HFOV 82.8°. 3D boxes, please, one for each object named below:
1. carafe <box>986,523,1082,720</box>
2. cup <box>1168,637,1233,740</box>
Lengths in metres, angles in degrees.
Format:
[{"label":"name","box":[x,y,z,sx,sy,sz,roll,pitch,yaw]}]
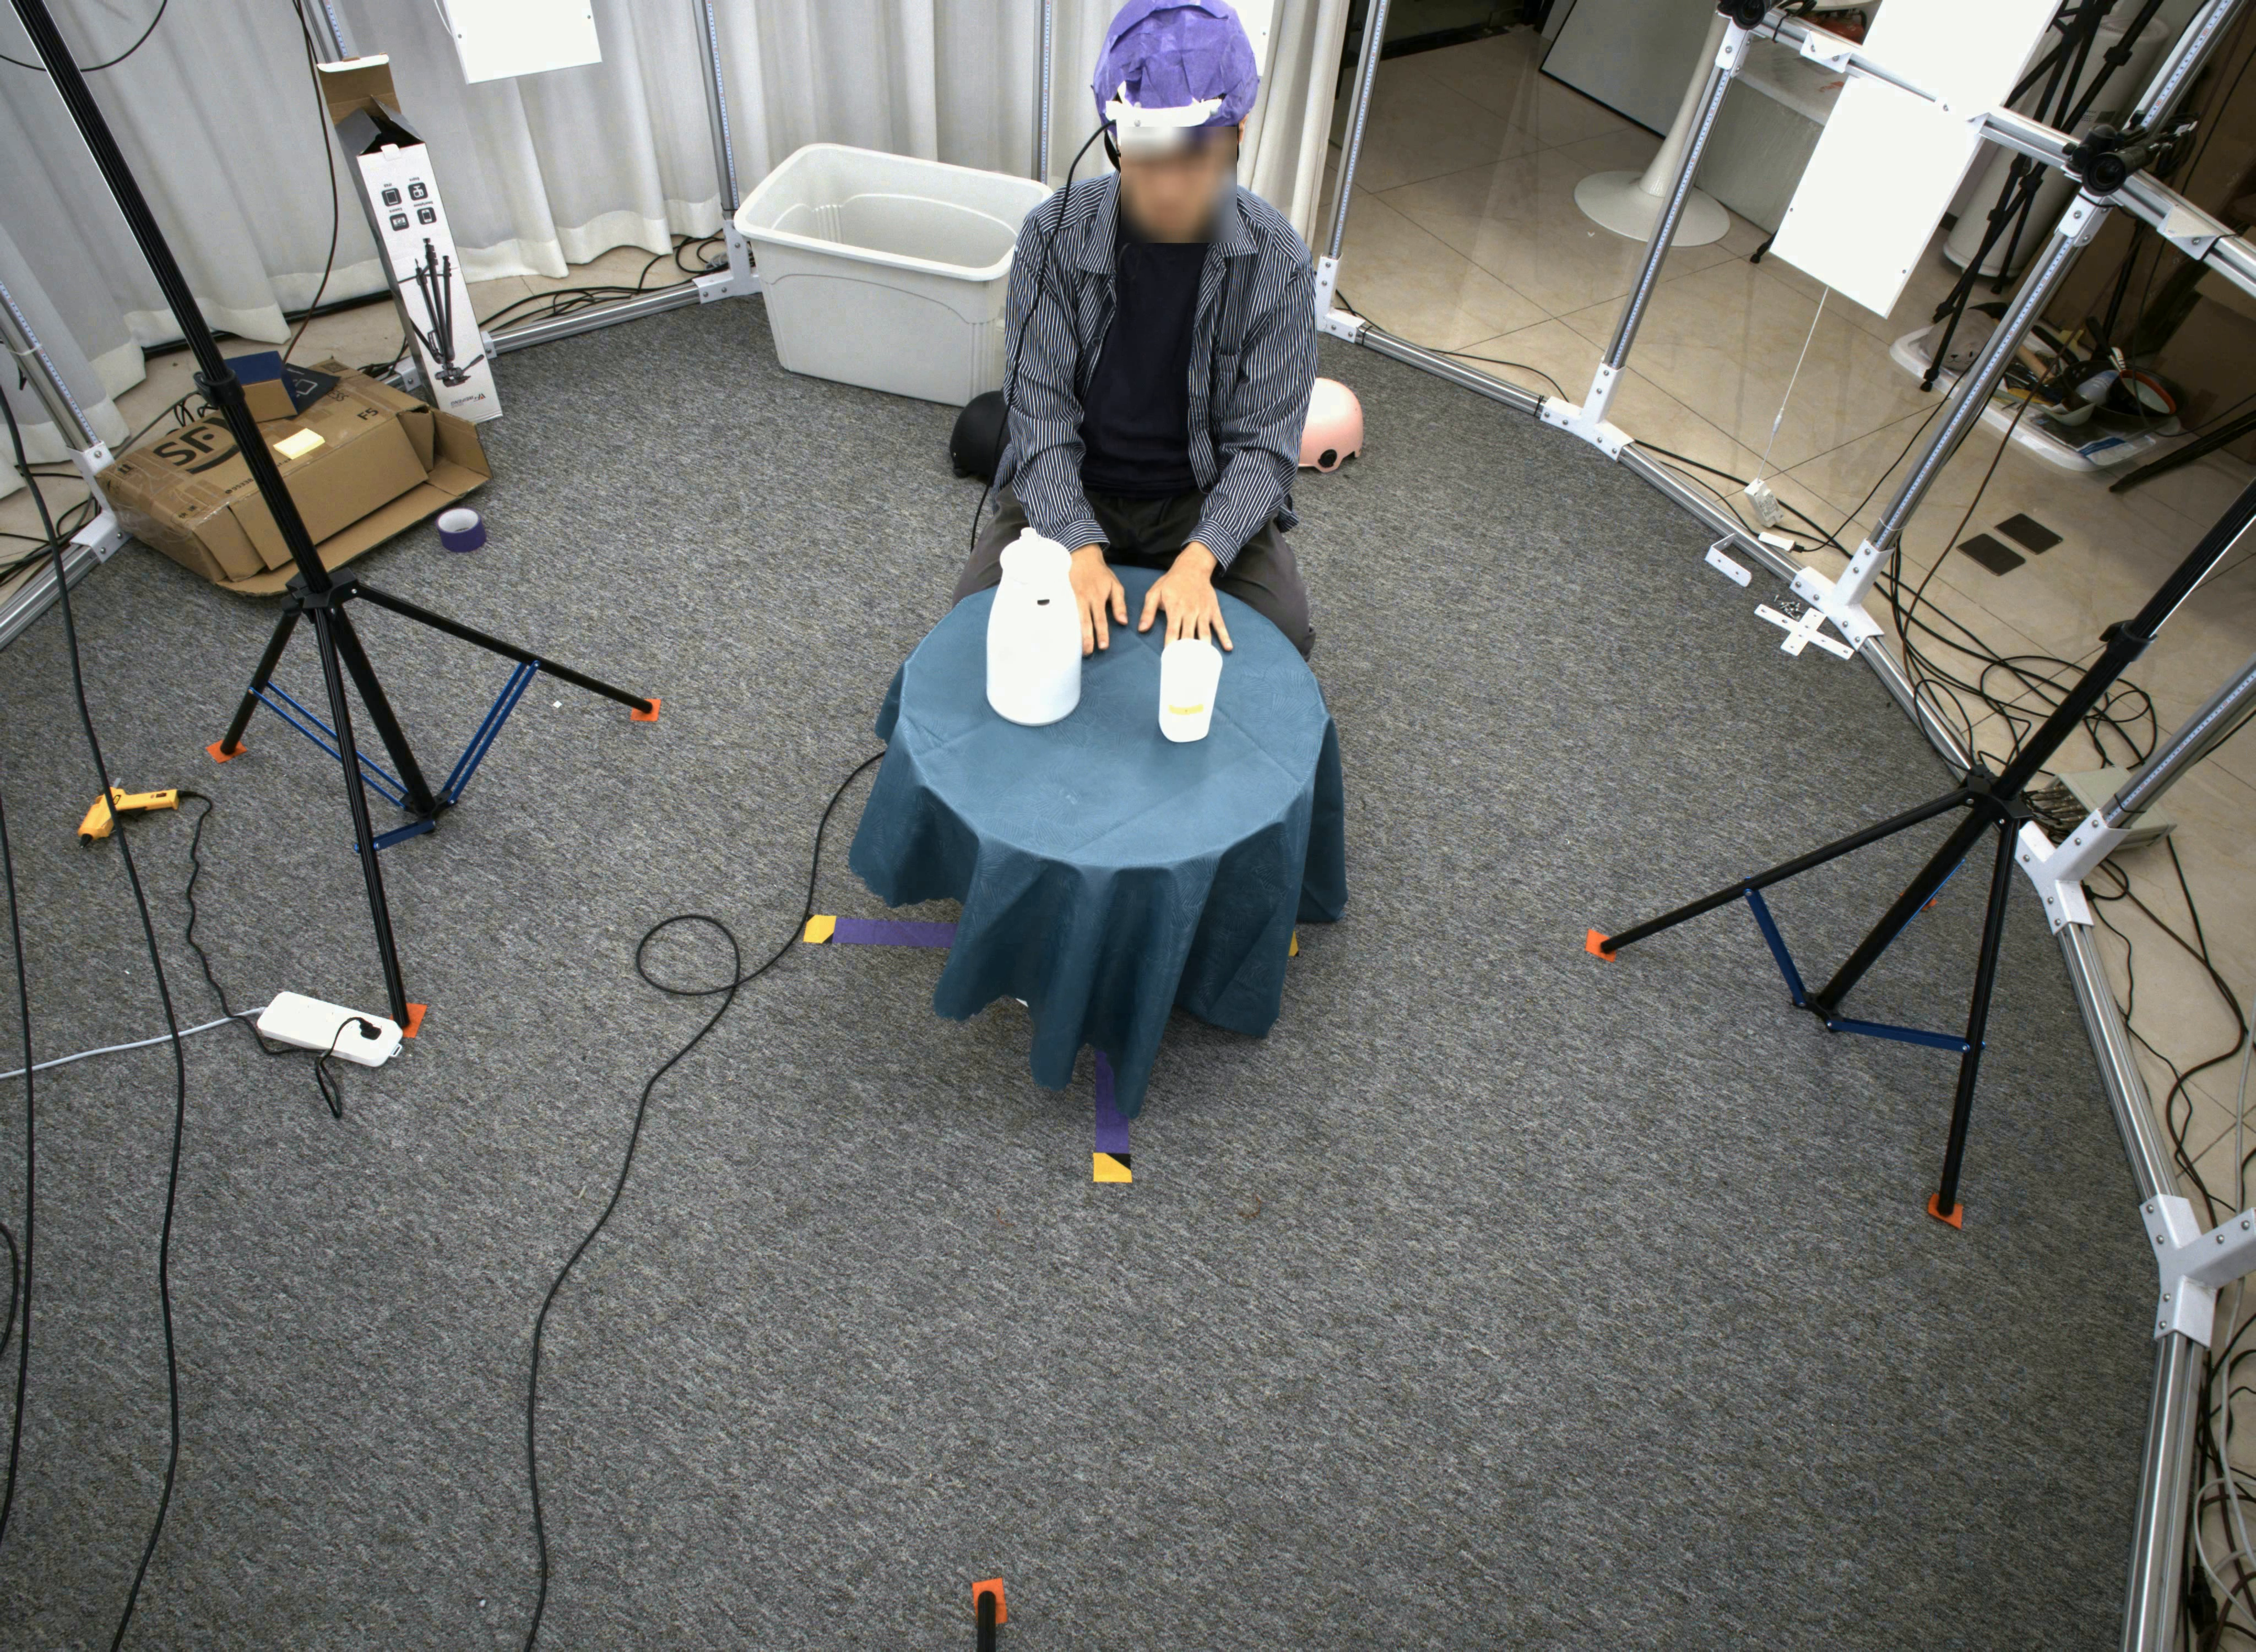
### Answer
[{"label":"carafe","box":[-0.133,-0.286,1.730,0.132,0.243,0.172,-13,53,-14]},{"label":"cup","box":[0.095,-0.183,1.742,0.081,0.122,0.084,2,49,-3]}]
